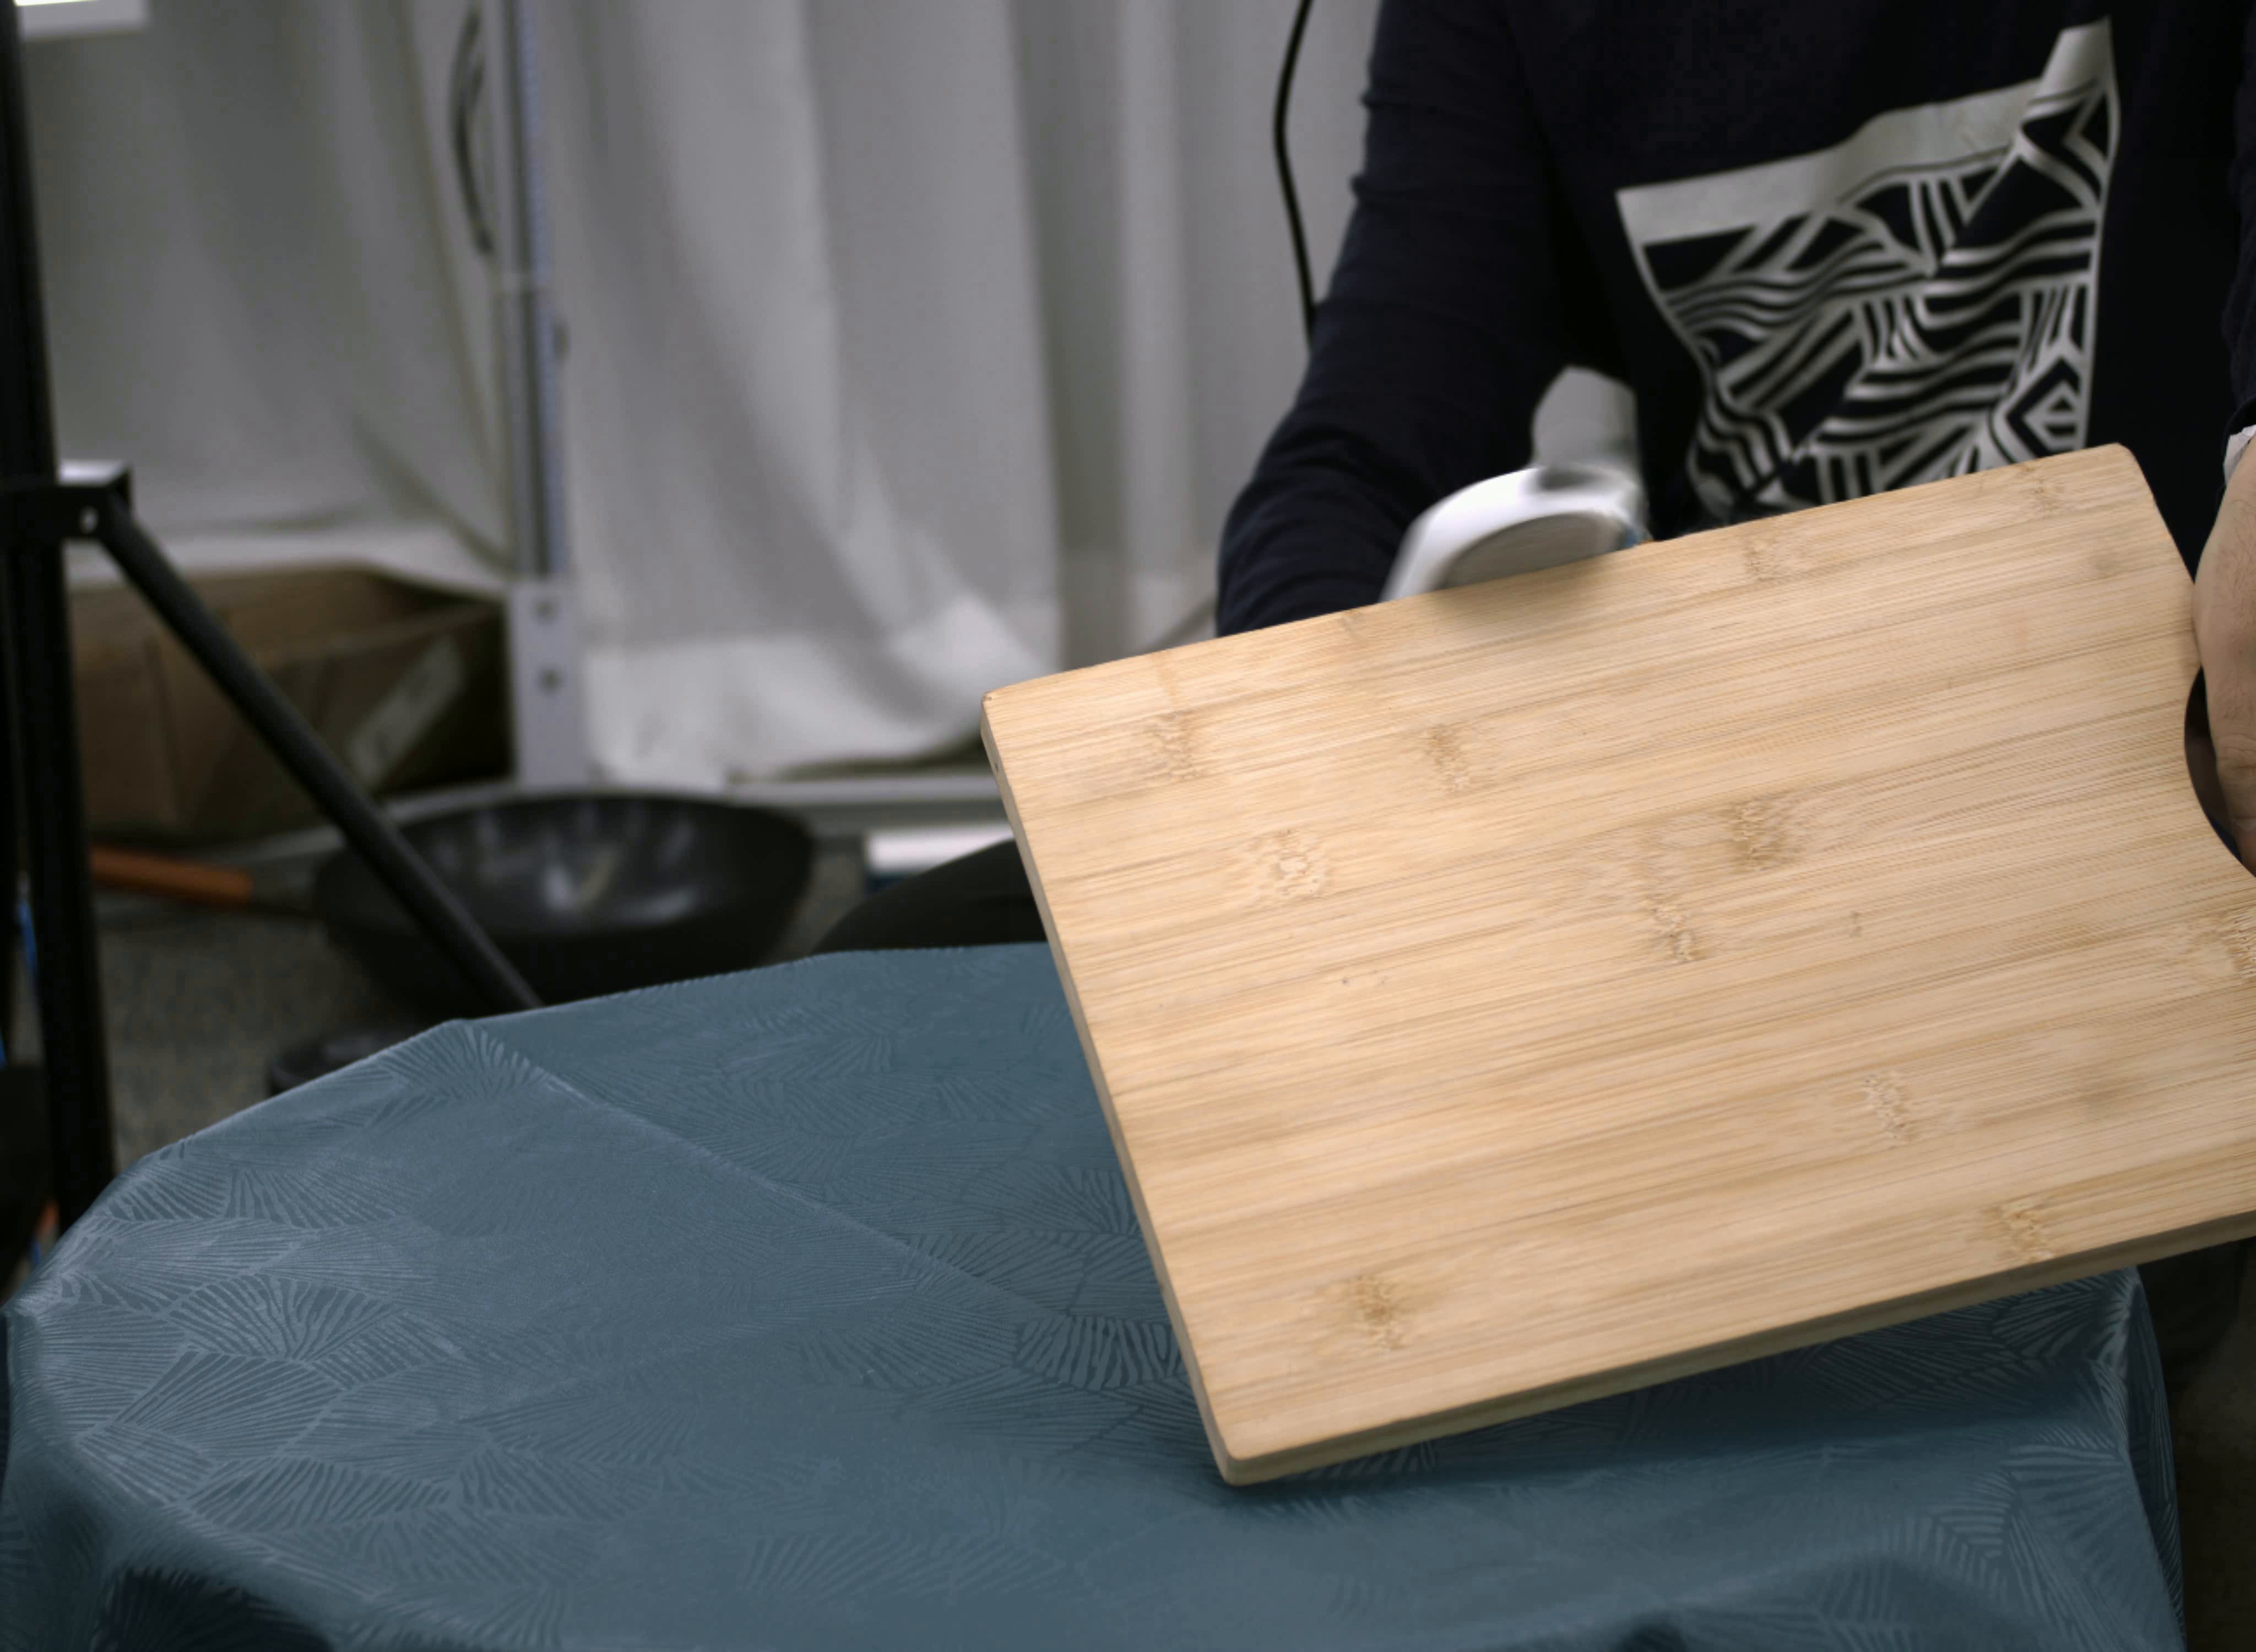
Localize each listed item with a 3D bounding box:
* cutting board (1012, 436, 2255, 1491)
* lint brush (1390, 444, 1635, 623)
[{"bbox_3d":[0.160,0.030,1.423,0.345,0.023,0.255,-13,60,-9],"label":"cutting board"},{"bbox_3d":[0.096,-0.038,1.589,0.059,0.021,0.309,-16,-19,-15],"label":"lint brush"}]
